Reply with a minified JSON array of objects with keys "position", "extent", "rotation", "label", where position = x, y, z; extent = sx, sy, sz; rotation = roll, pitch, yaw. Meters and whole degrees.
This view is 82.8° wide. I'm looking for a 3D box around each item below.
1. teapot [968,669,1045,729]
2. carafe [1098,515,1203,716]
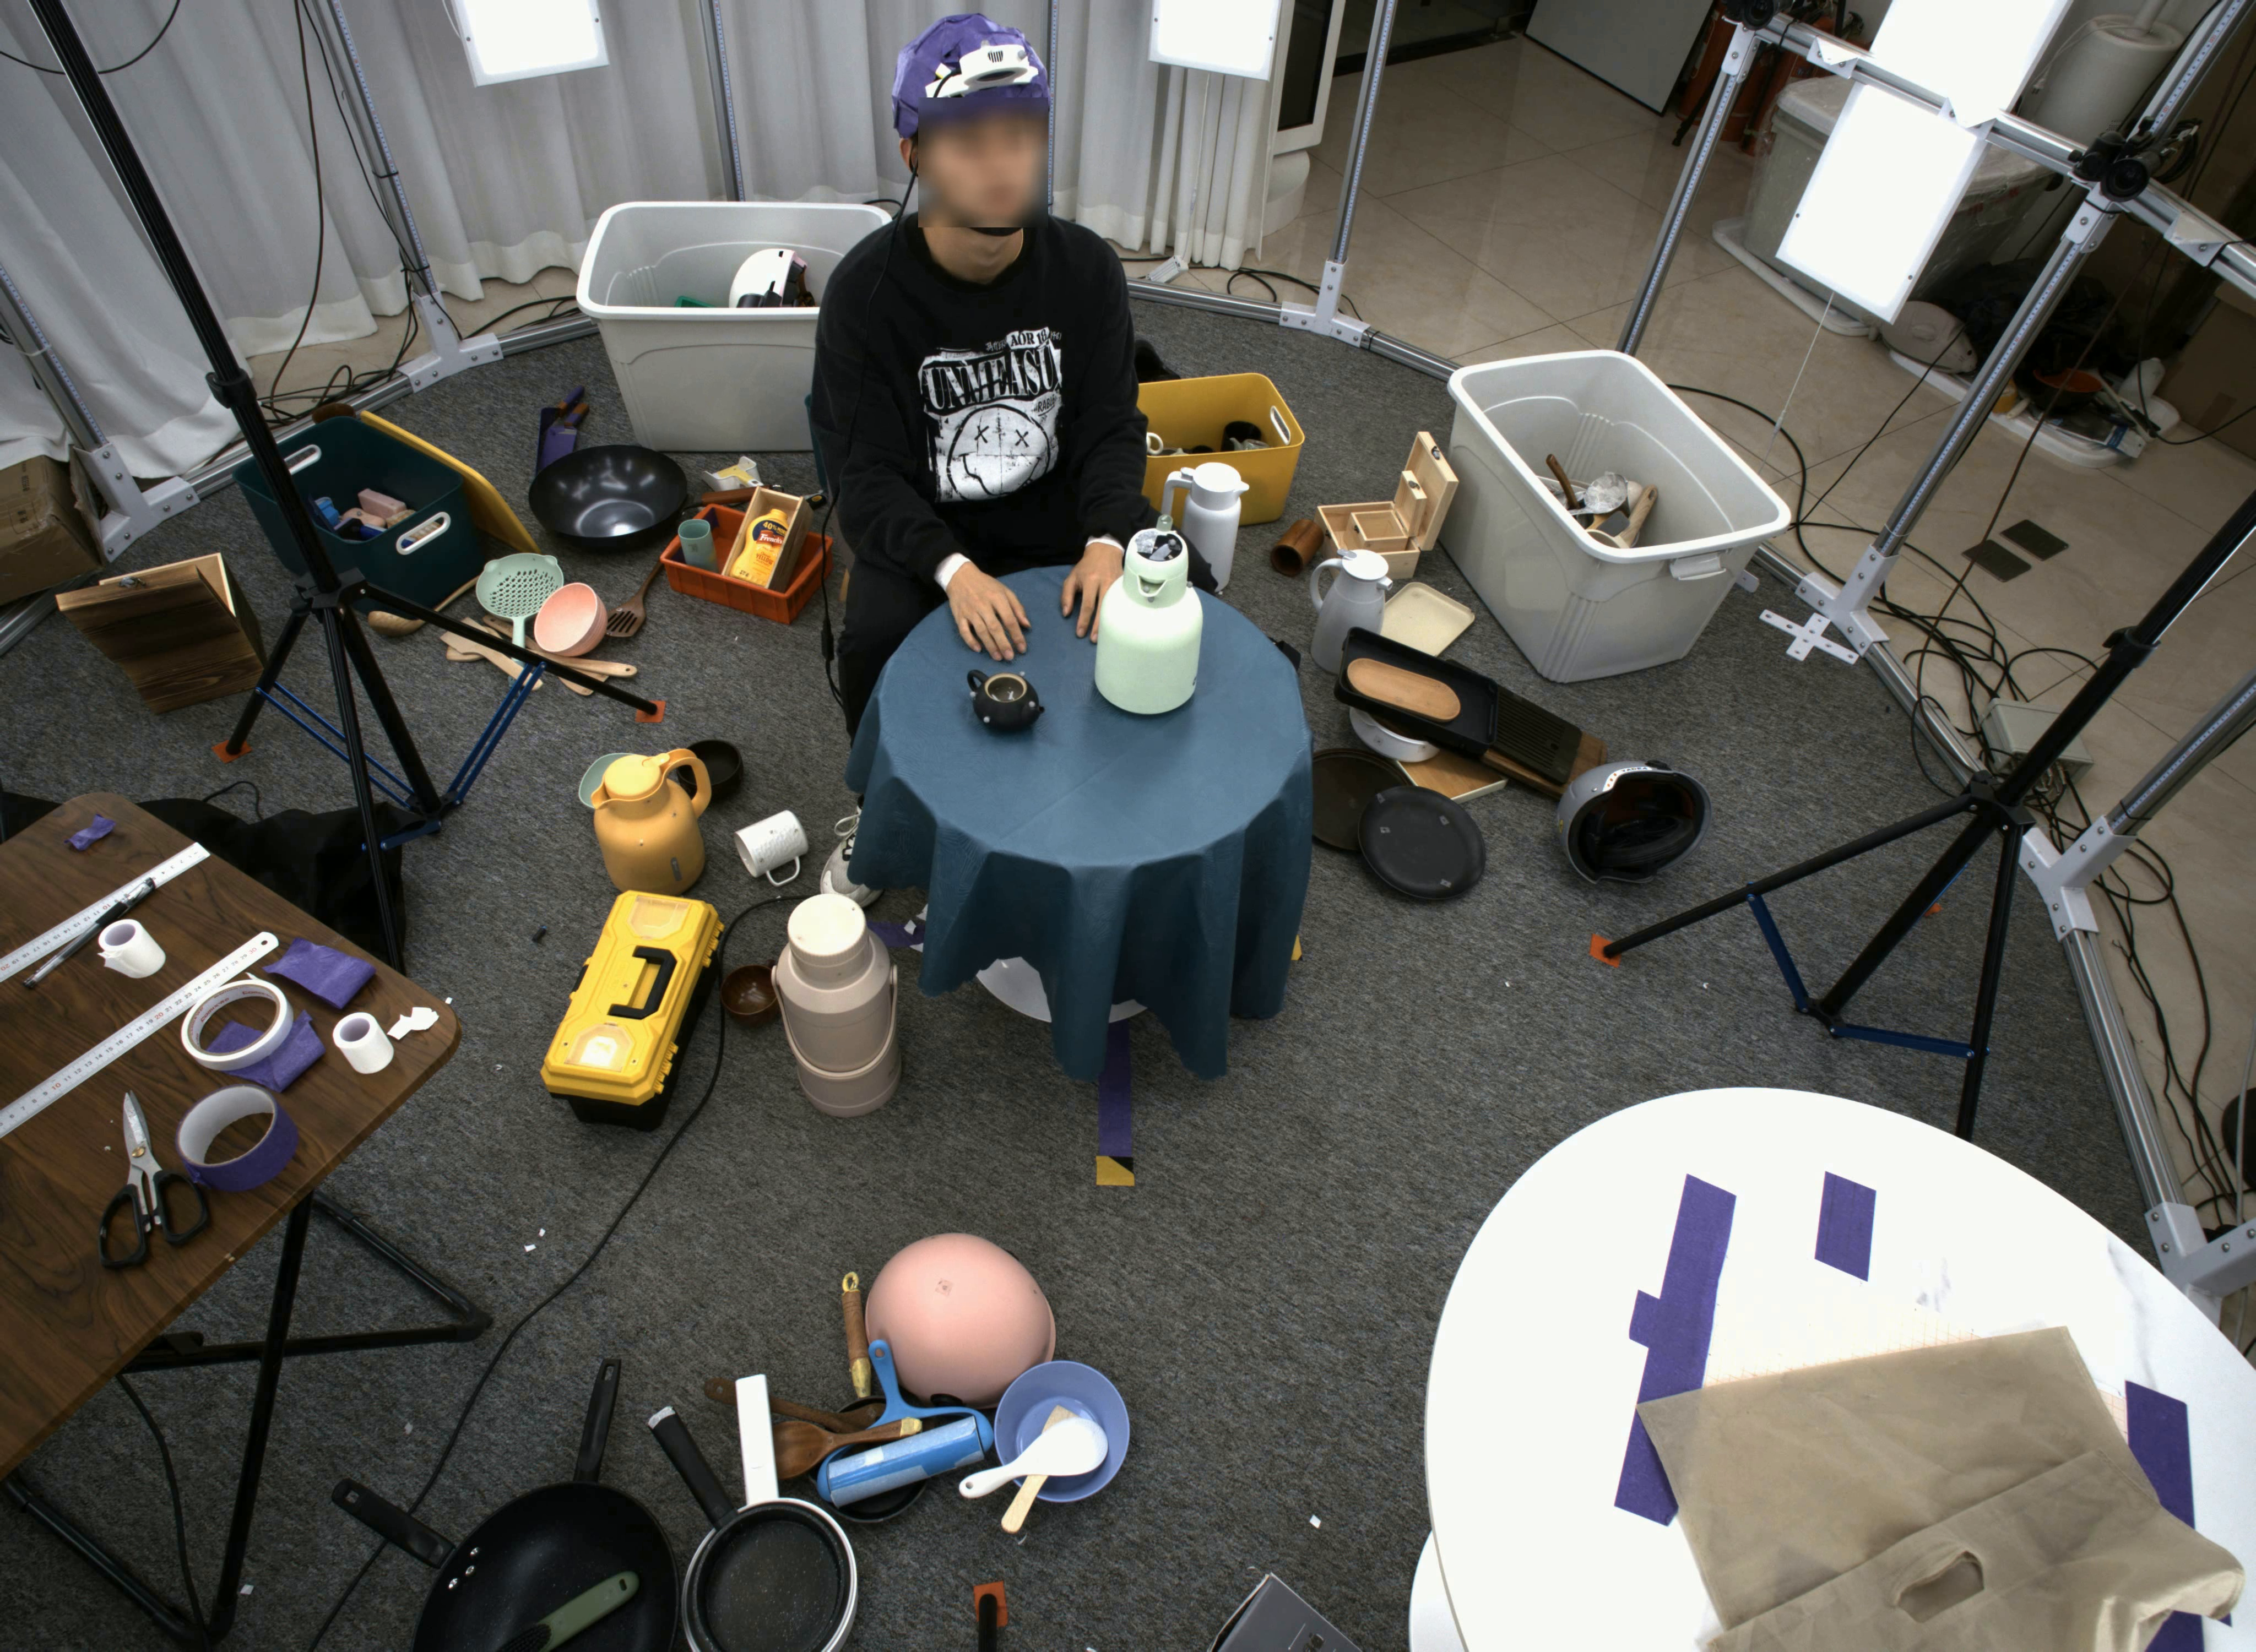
[{"position":[-0.168,-0.173,1.775],"extent":[0.134,0.052,0.092],"rotation":[31,52,21],"label":"teapot"},{"position":[0.035,-0.293,1.764],"extent":[0.144,0.250,0.191],"rotation":[8,46,5],"label":"carafe"}]
